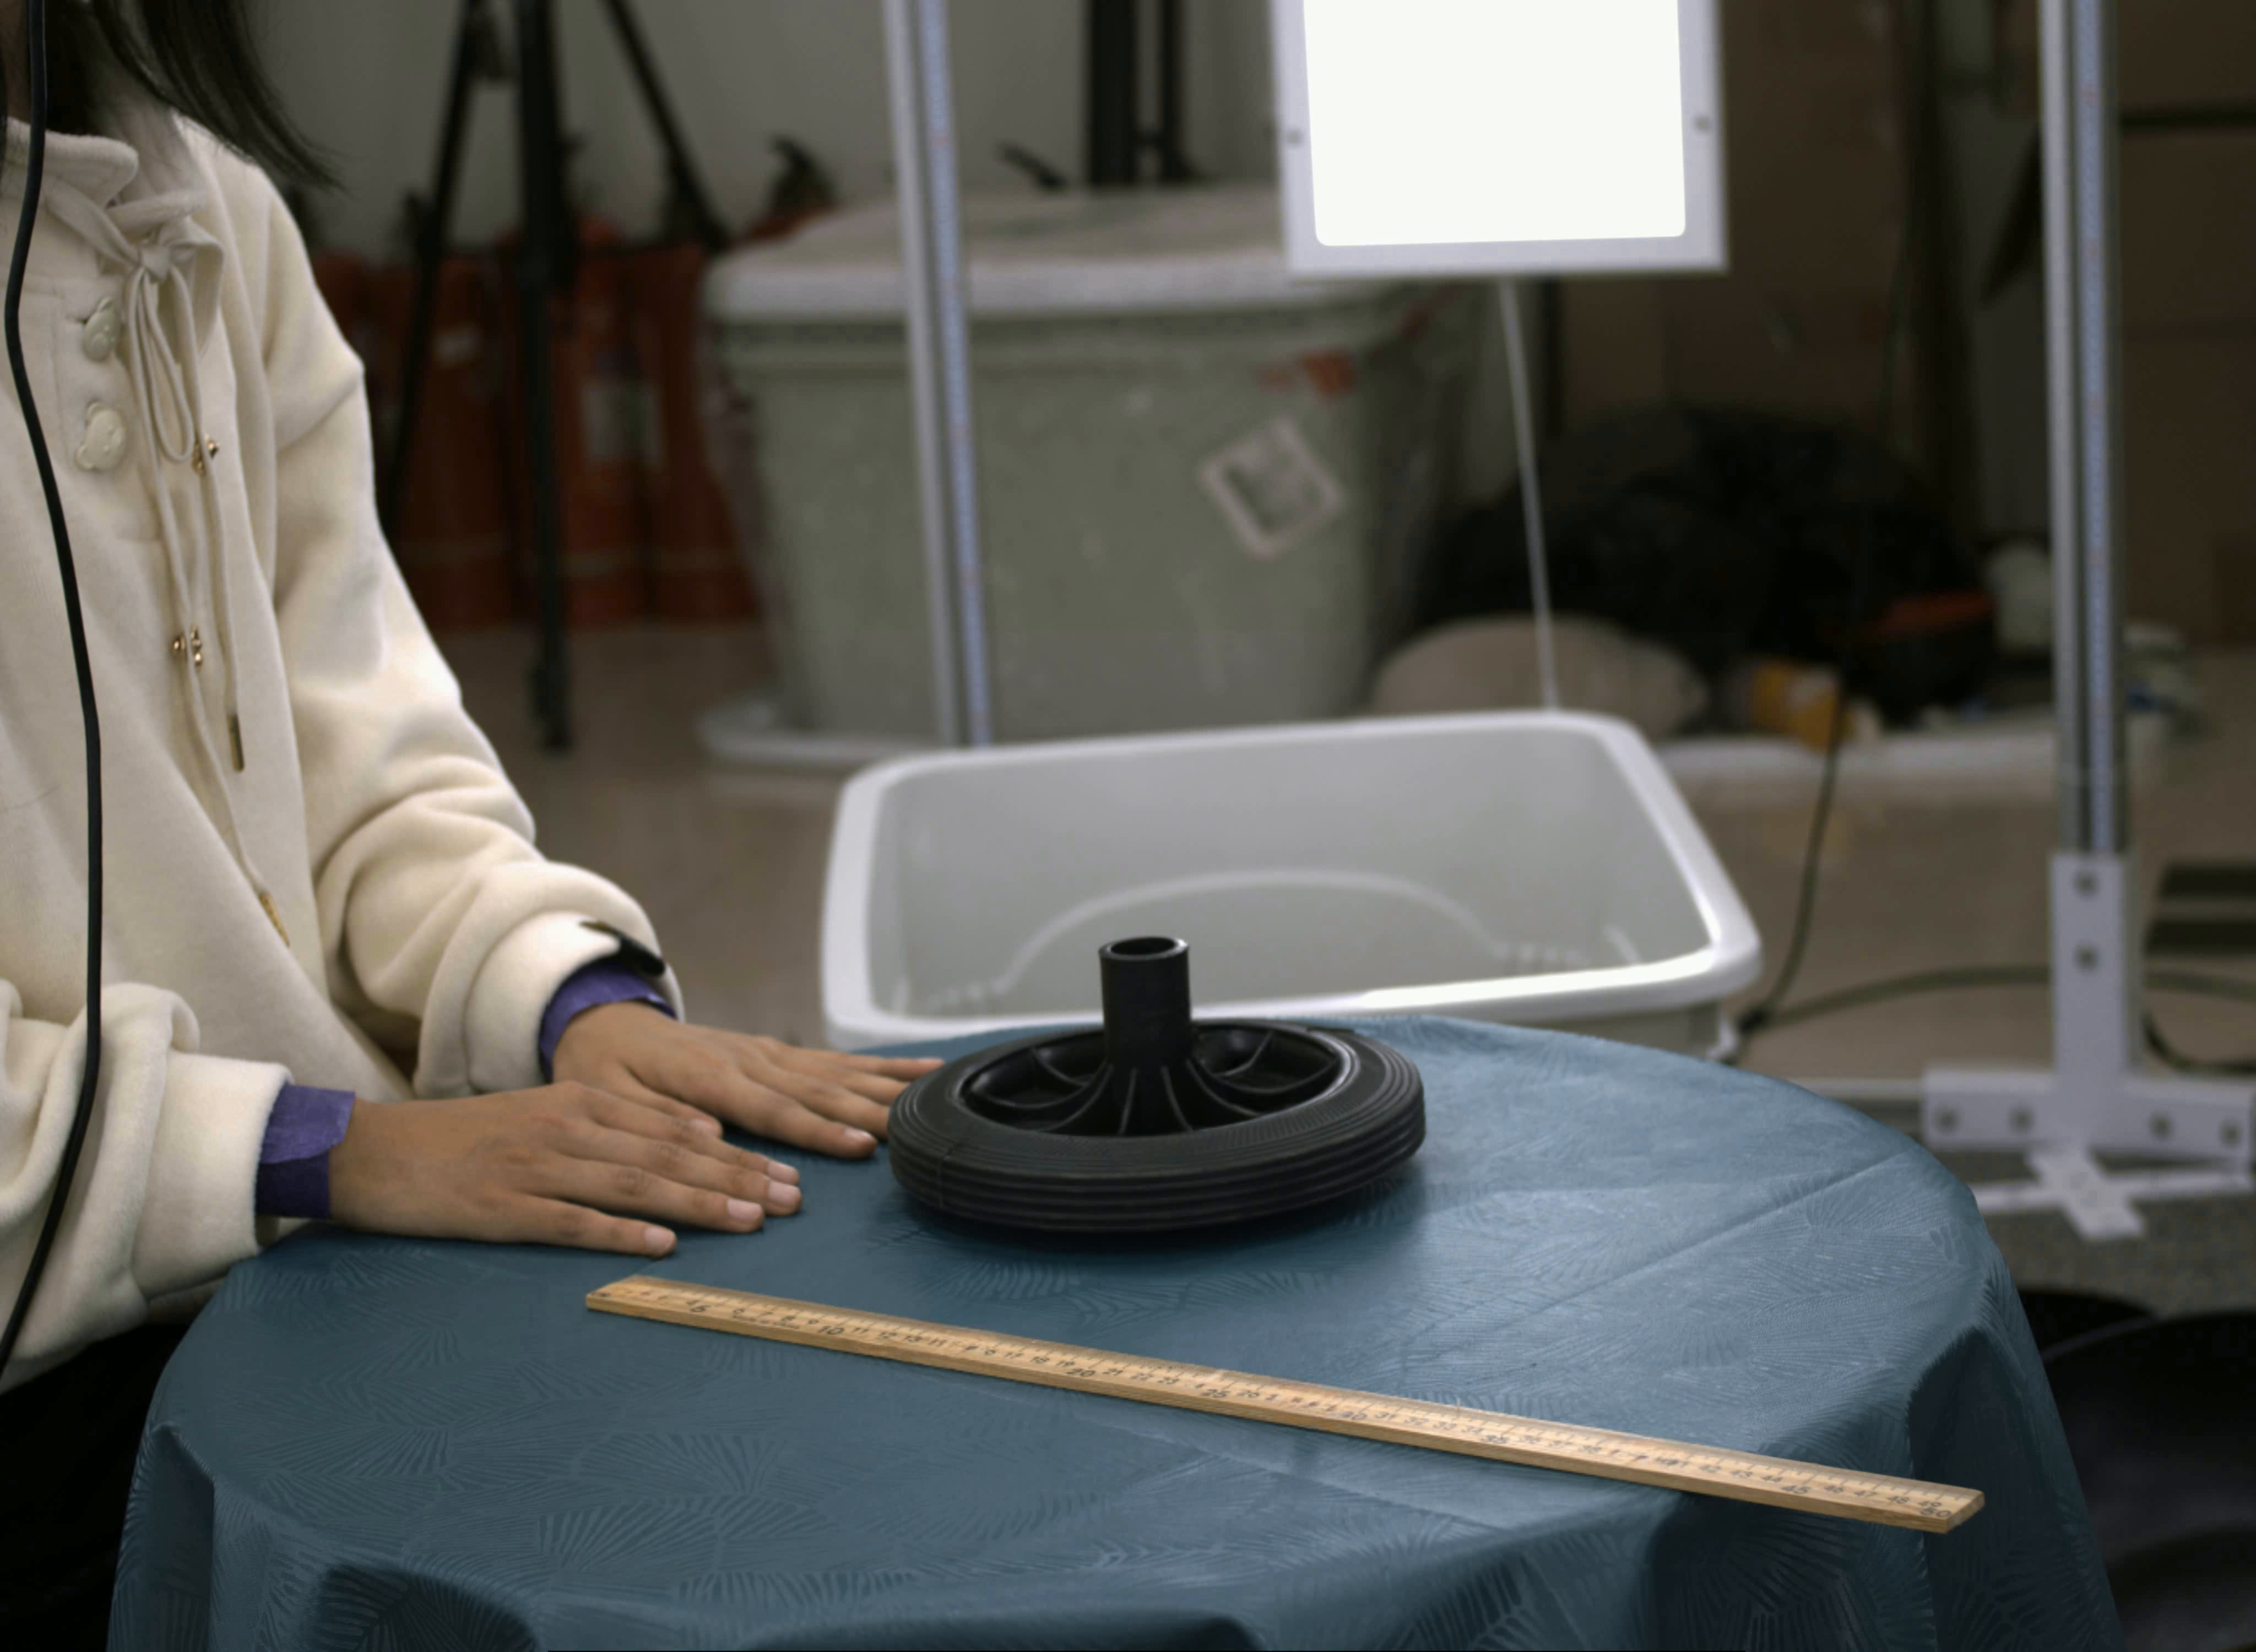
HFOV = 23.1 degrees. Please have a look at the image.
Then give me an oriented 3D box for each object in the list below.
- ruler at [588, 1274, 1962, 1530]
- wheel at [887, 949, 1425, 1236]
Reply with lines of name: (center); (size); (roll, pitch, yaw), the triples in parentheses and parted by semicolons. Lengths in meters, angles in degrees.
ruler: (0.030, 0.174, 1.685); (0.511, 0.006, 0.026); (5, 18, 37)
wheel: (0.008, 0.084, 1.907); (0.187, 0.079, 0.189); (-5, 13, 0)
